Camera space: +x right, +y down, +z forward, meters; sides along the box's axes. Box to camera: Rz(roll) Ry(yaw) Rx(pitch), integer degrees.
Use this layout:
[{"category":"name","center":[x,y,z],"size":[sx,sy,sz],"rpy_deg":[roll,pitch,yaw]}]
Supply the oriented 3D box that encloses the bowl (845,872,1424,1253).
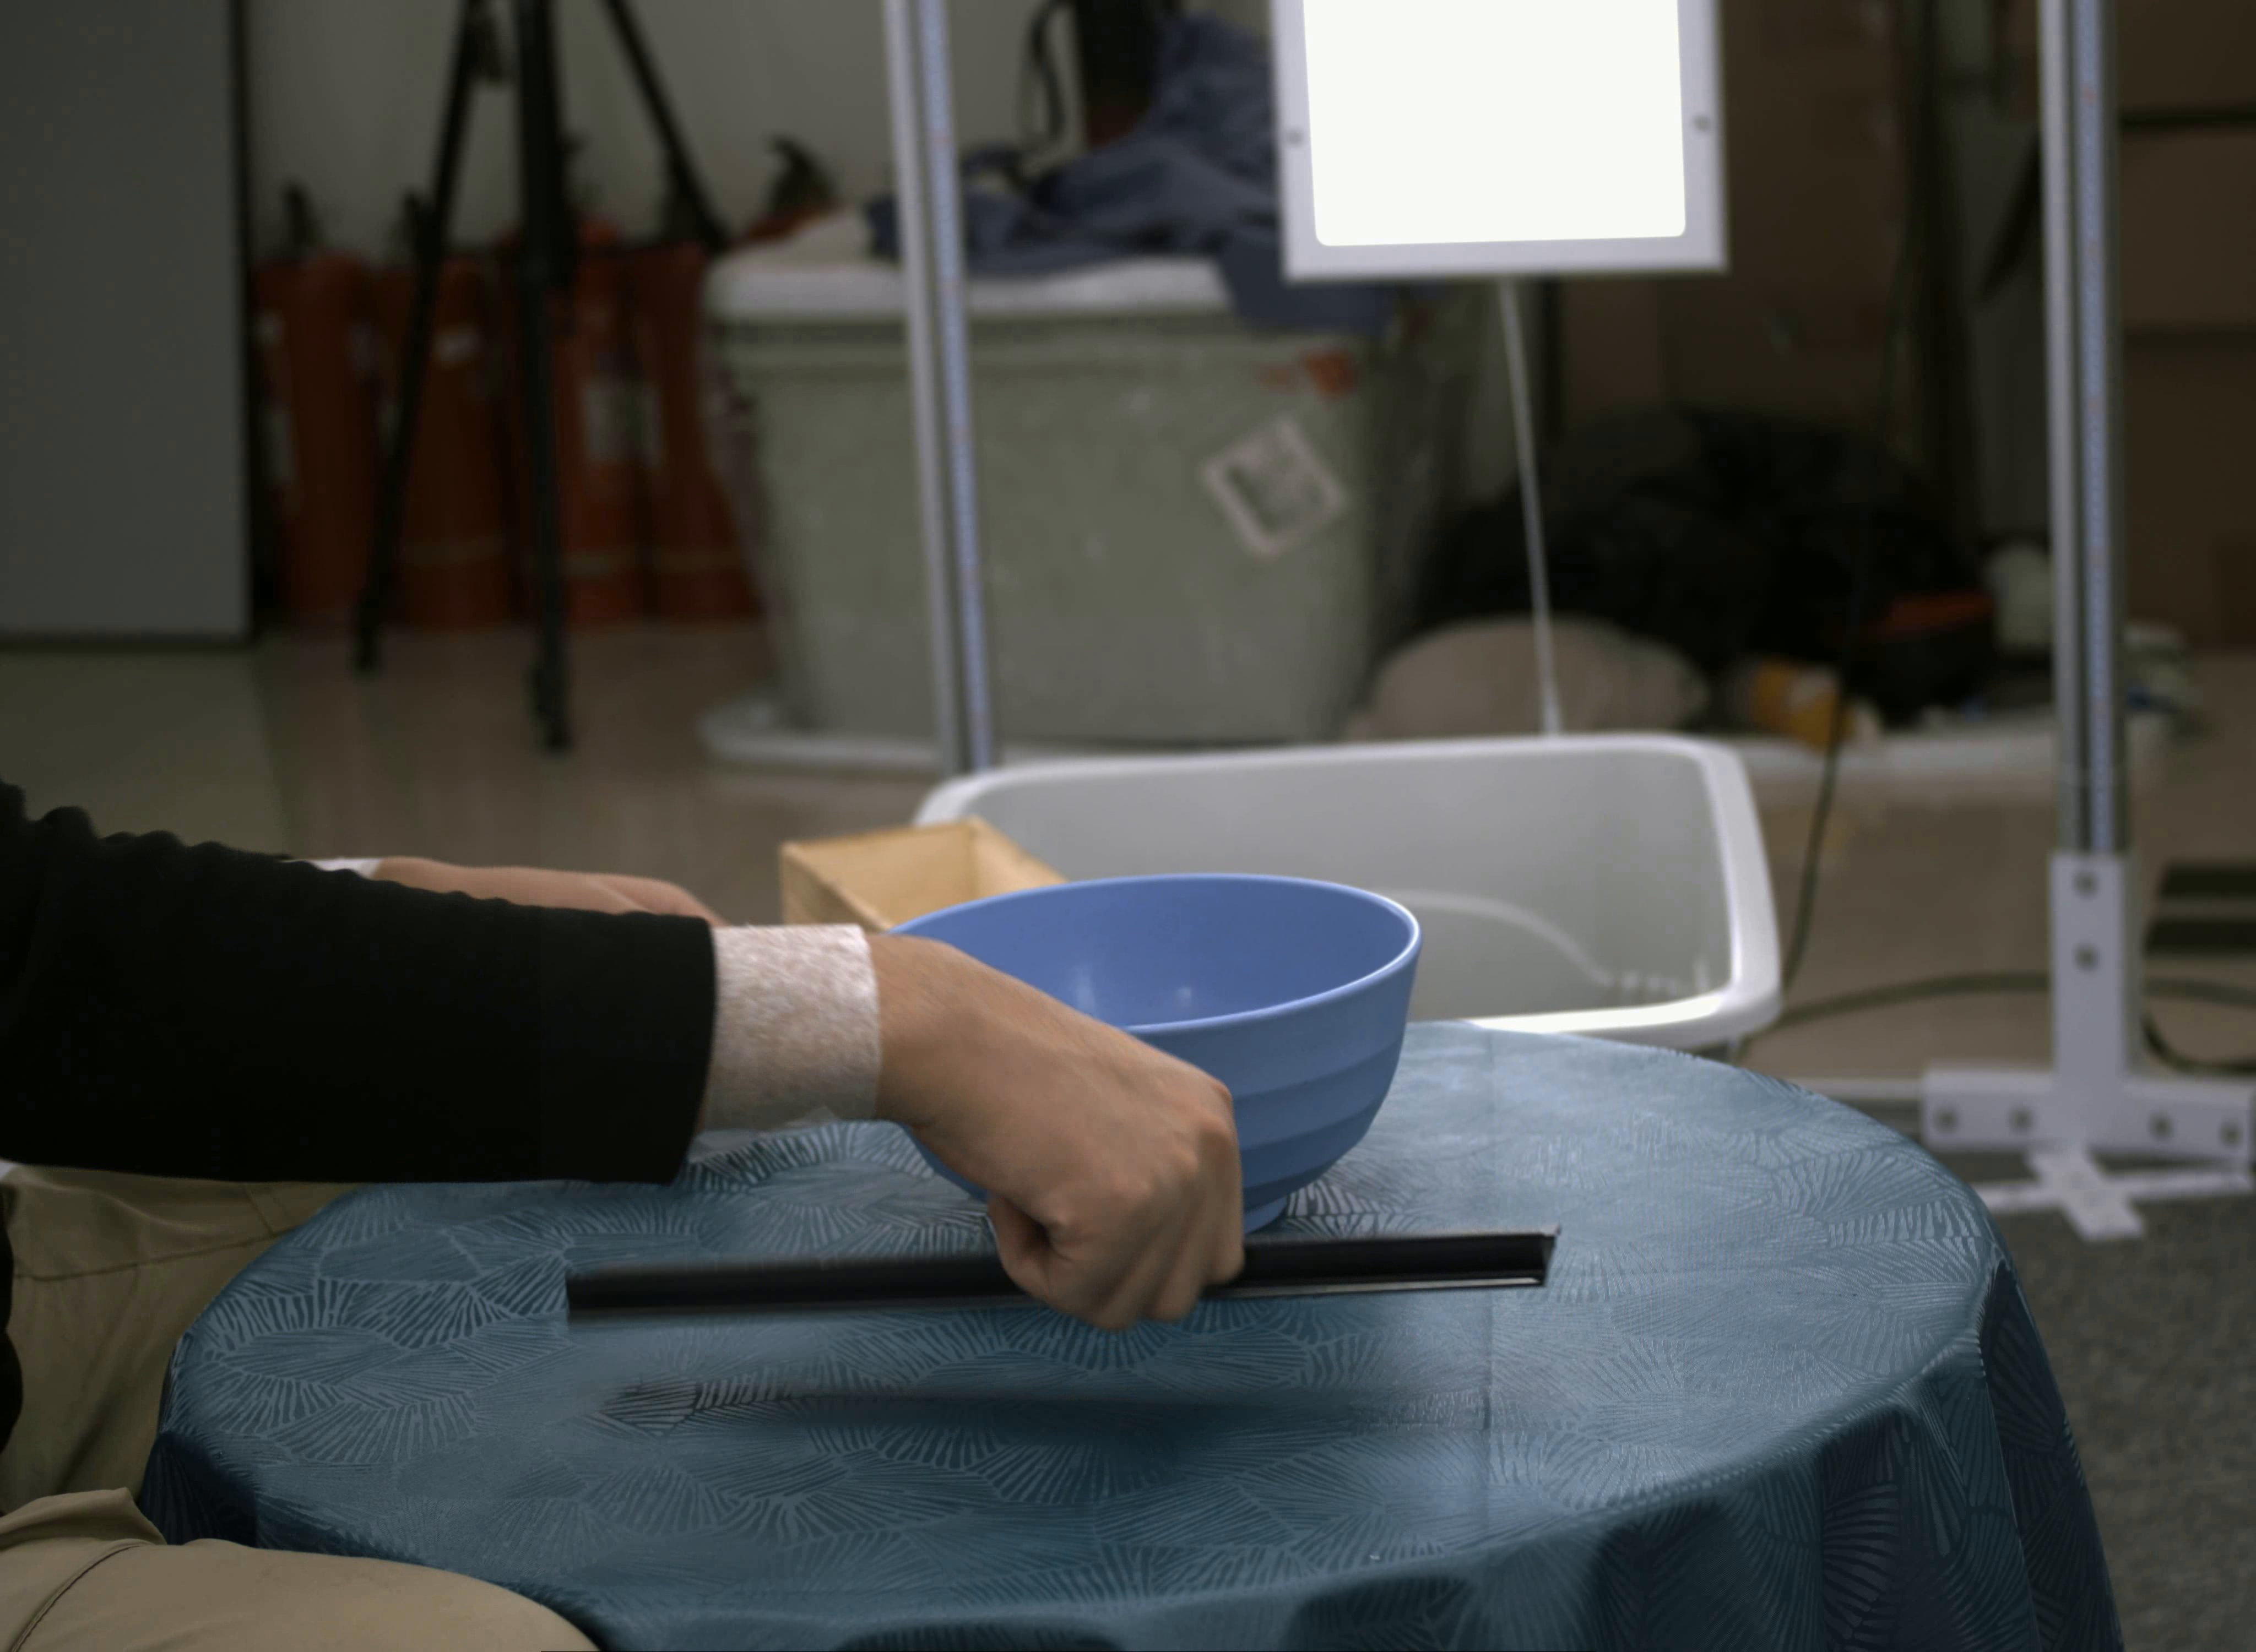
[{"category":"bowl","center":[0.005,0.086,1.863],"size":[0.196,0.096,0.196],"rpy_deg":[-4,13,0]}]

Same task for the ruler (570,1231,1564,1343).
[{"category":"ruler","center":[-0.021,0.136,1.696],"size":[0.316,0.017,0.039],"rpy_deg":[-5,19,16]}]
